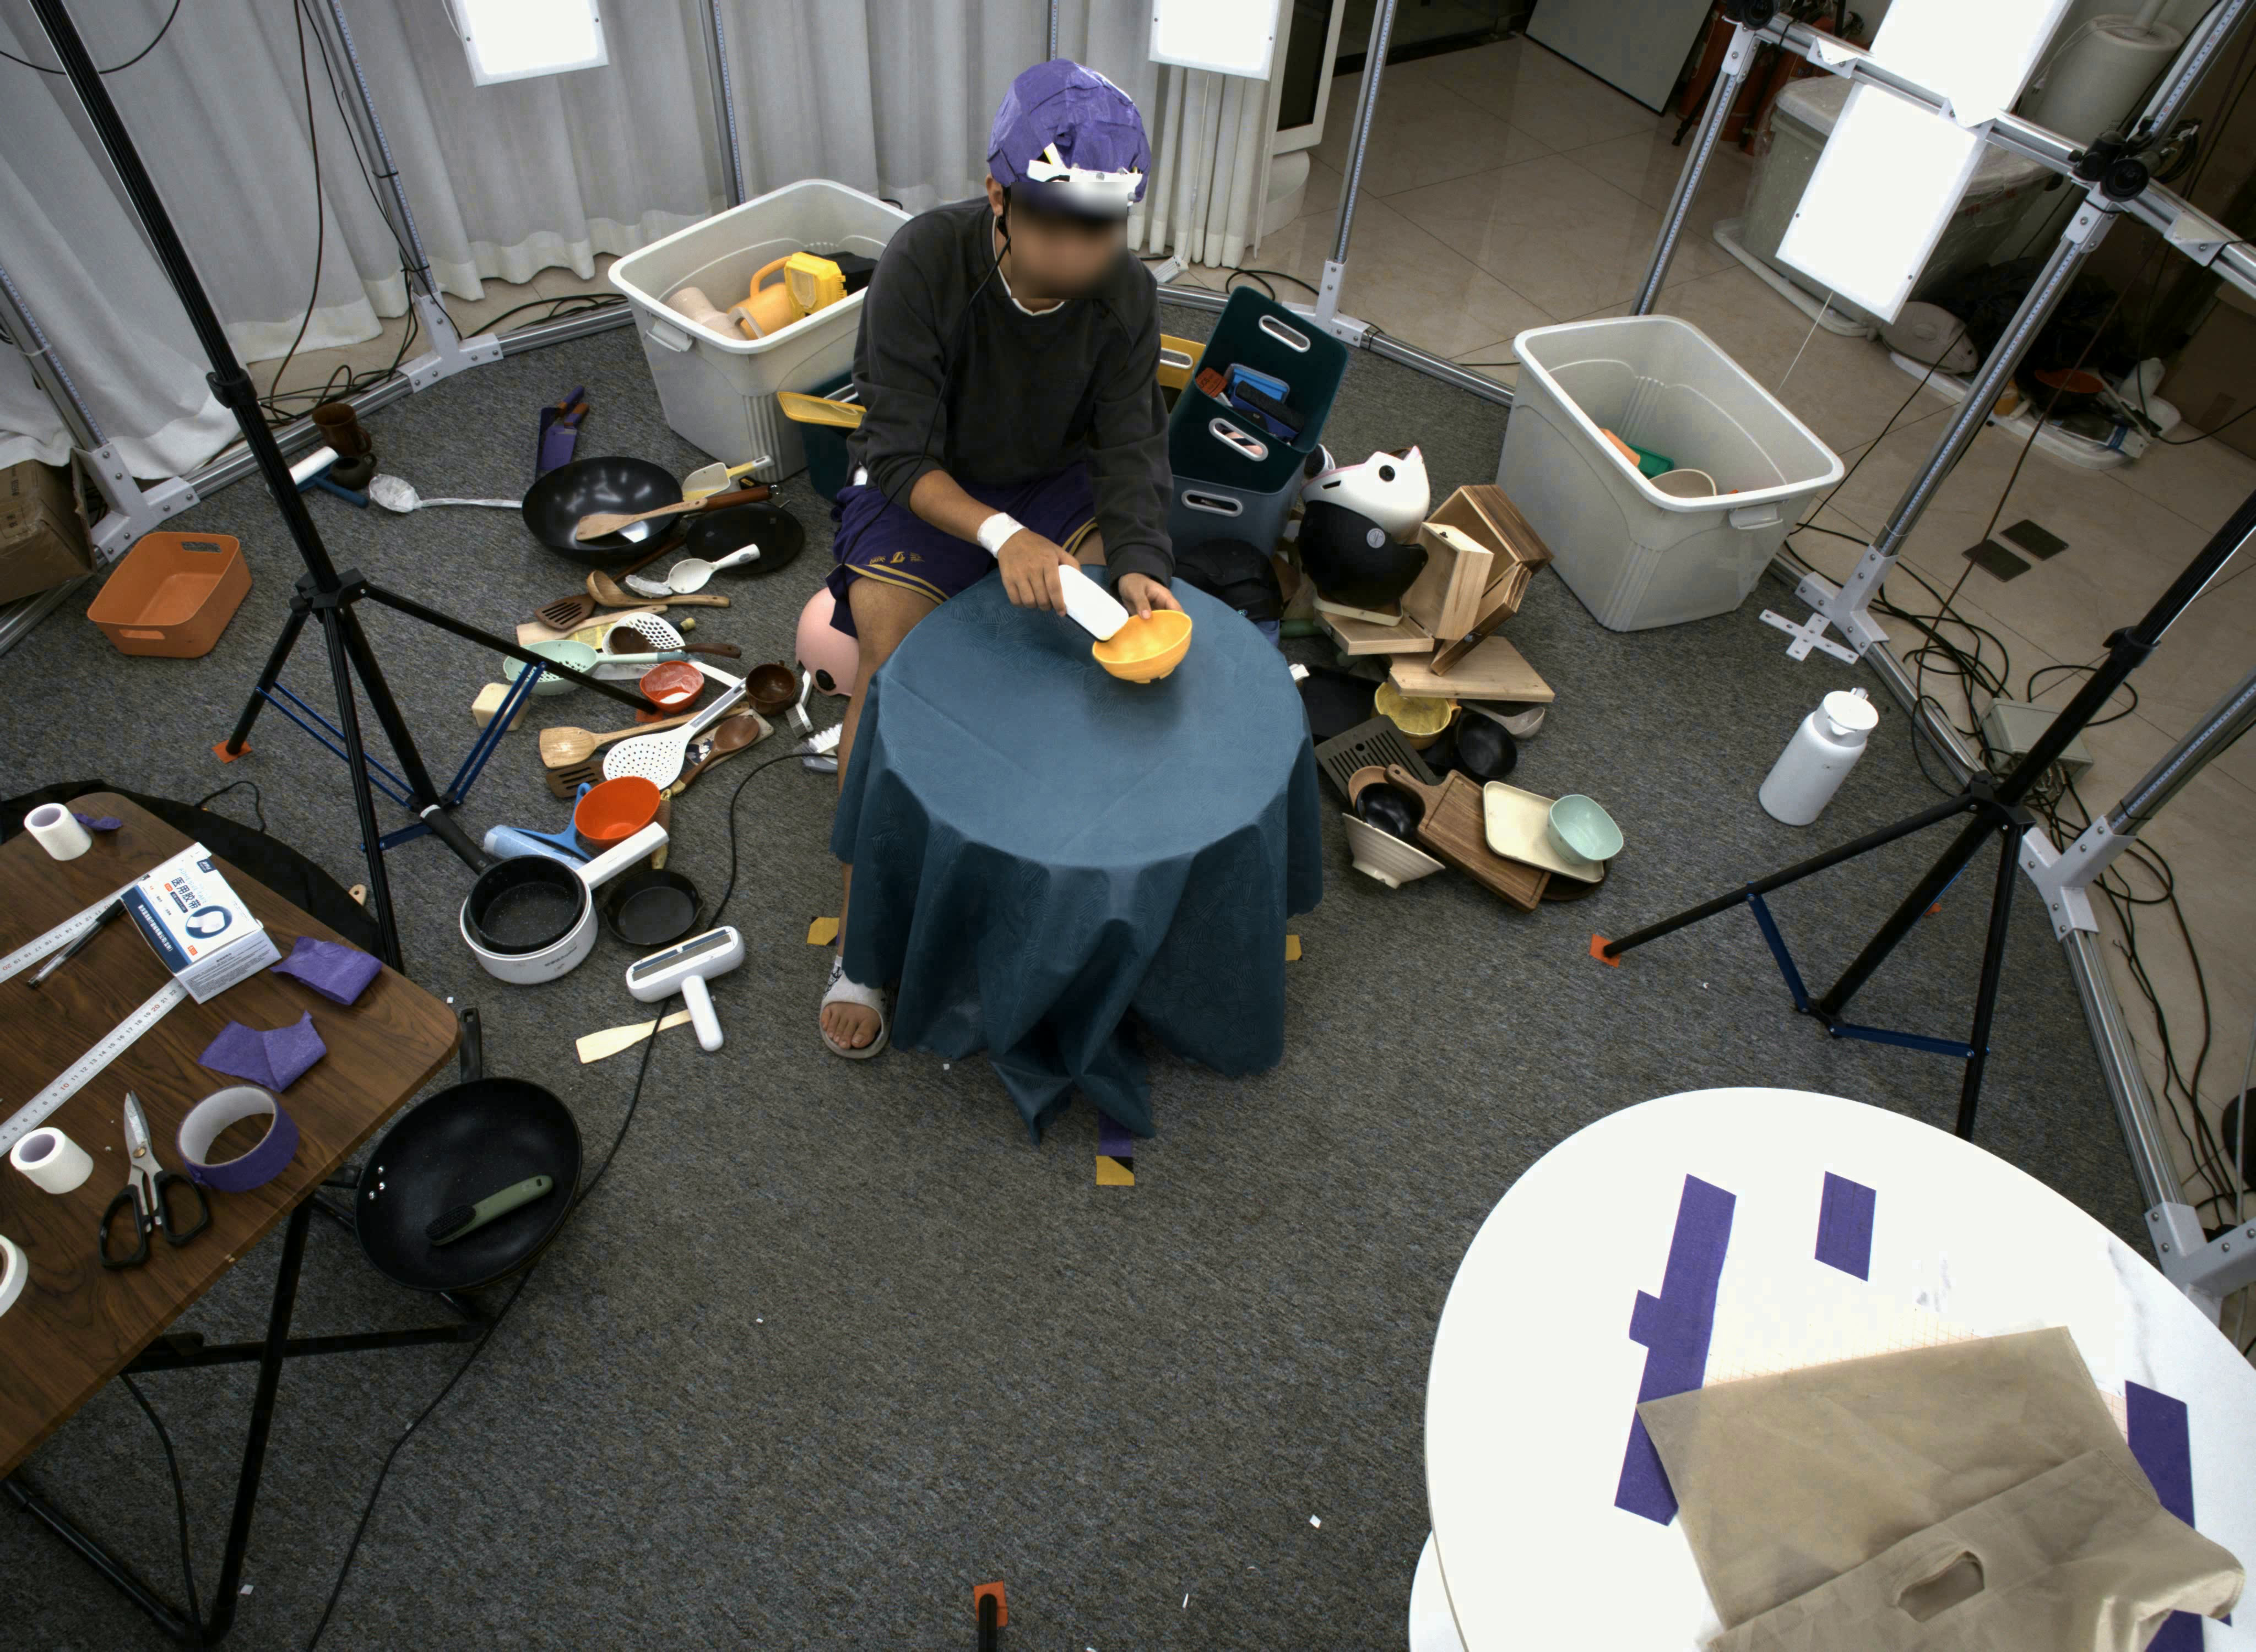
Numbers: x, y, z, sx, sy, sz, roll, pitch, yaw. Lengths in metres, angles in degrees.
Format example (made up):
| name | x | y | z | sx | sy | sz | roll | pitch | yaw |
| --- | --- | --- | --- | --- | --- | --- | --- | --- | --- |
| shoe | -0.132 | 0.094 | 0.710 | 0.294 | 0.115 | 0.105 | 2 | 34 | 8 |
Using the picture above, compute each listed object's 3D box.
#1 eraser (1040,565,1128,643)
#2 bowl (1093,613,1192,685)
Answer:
| name | x | y | z | sx | sy | sz | roll | pitch | yaw |
| --- | --- | --- | --- | --- | --- | --- | --- | --- | --- |
| eraser | -0.063 | -0.320 | 1.843 | 0.132 | 0.034 | 0.064 | 41 | 58 | 10 |
| bowl | 0.028 | -0.242 | 1.818 | 0.145 | 0.059 | 0.148 | -15 | 30 | 8 |
